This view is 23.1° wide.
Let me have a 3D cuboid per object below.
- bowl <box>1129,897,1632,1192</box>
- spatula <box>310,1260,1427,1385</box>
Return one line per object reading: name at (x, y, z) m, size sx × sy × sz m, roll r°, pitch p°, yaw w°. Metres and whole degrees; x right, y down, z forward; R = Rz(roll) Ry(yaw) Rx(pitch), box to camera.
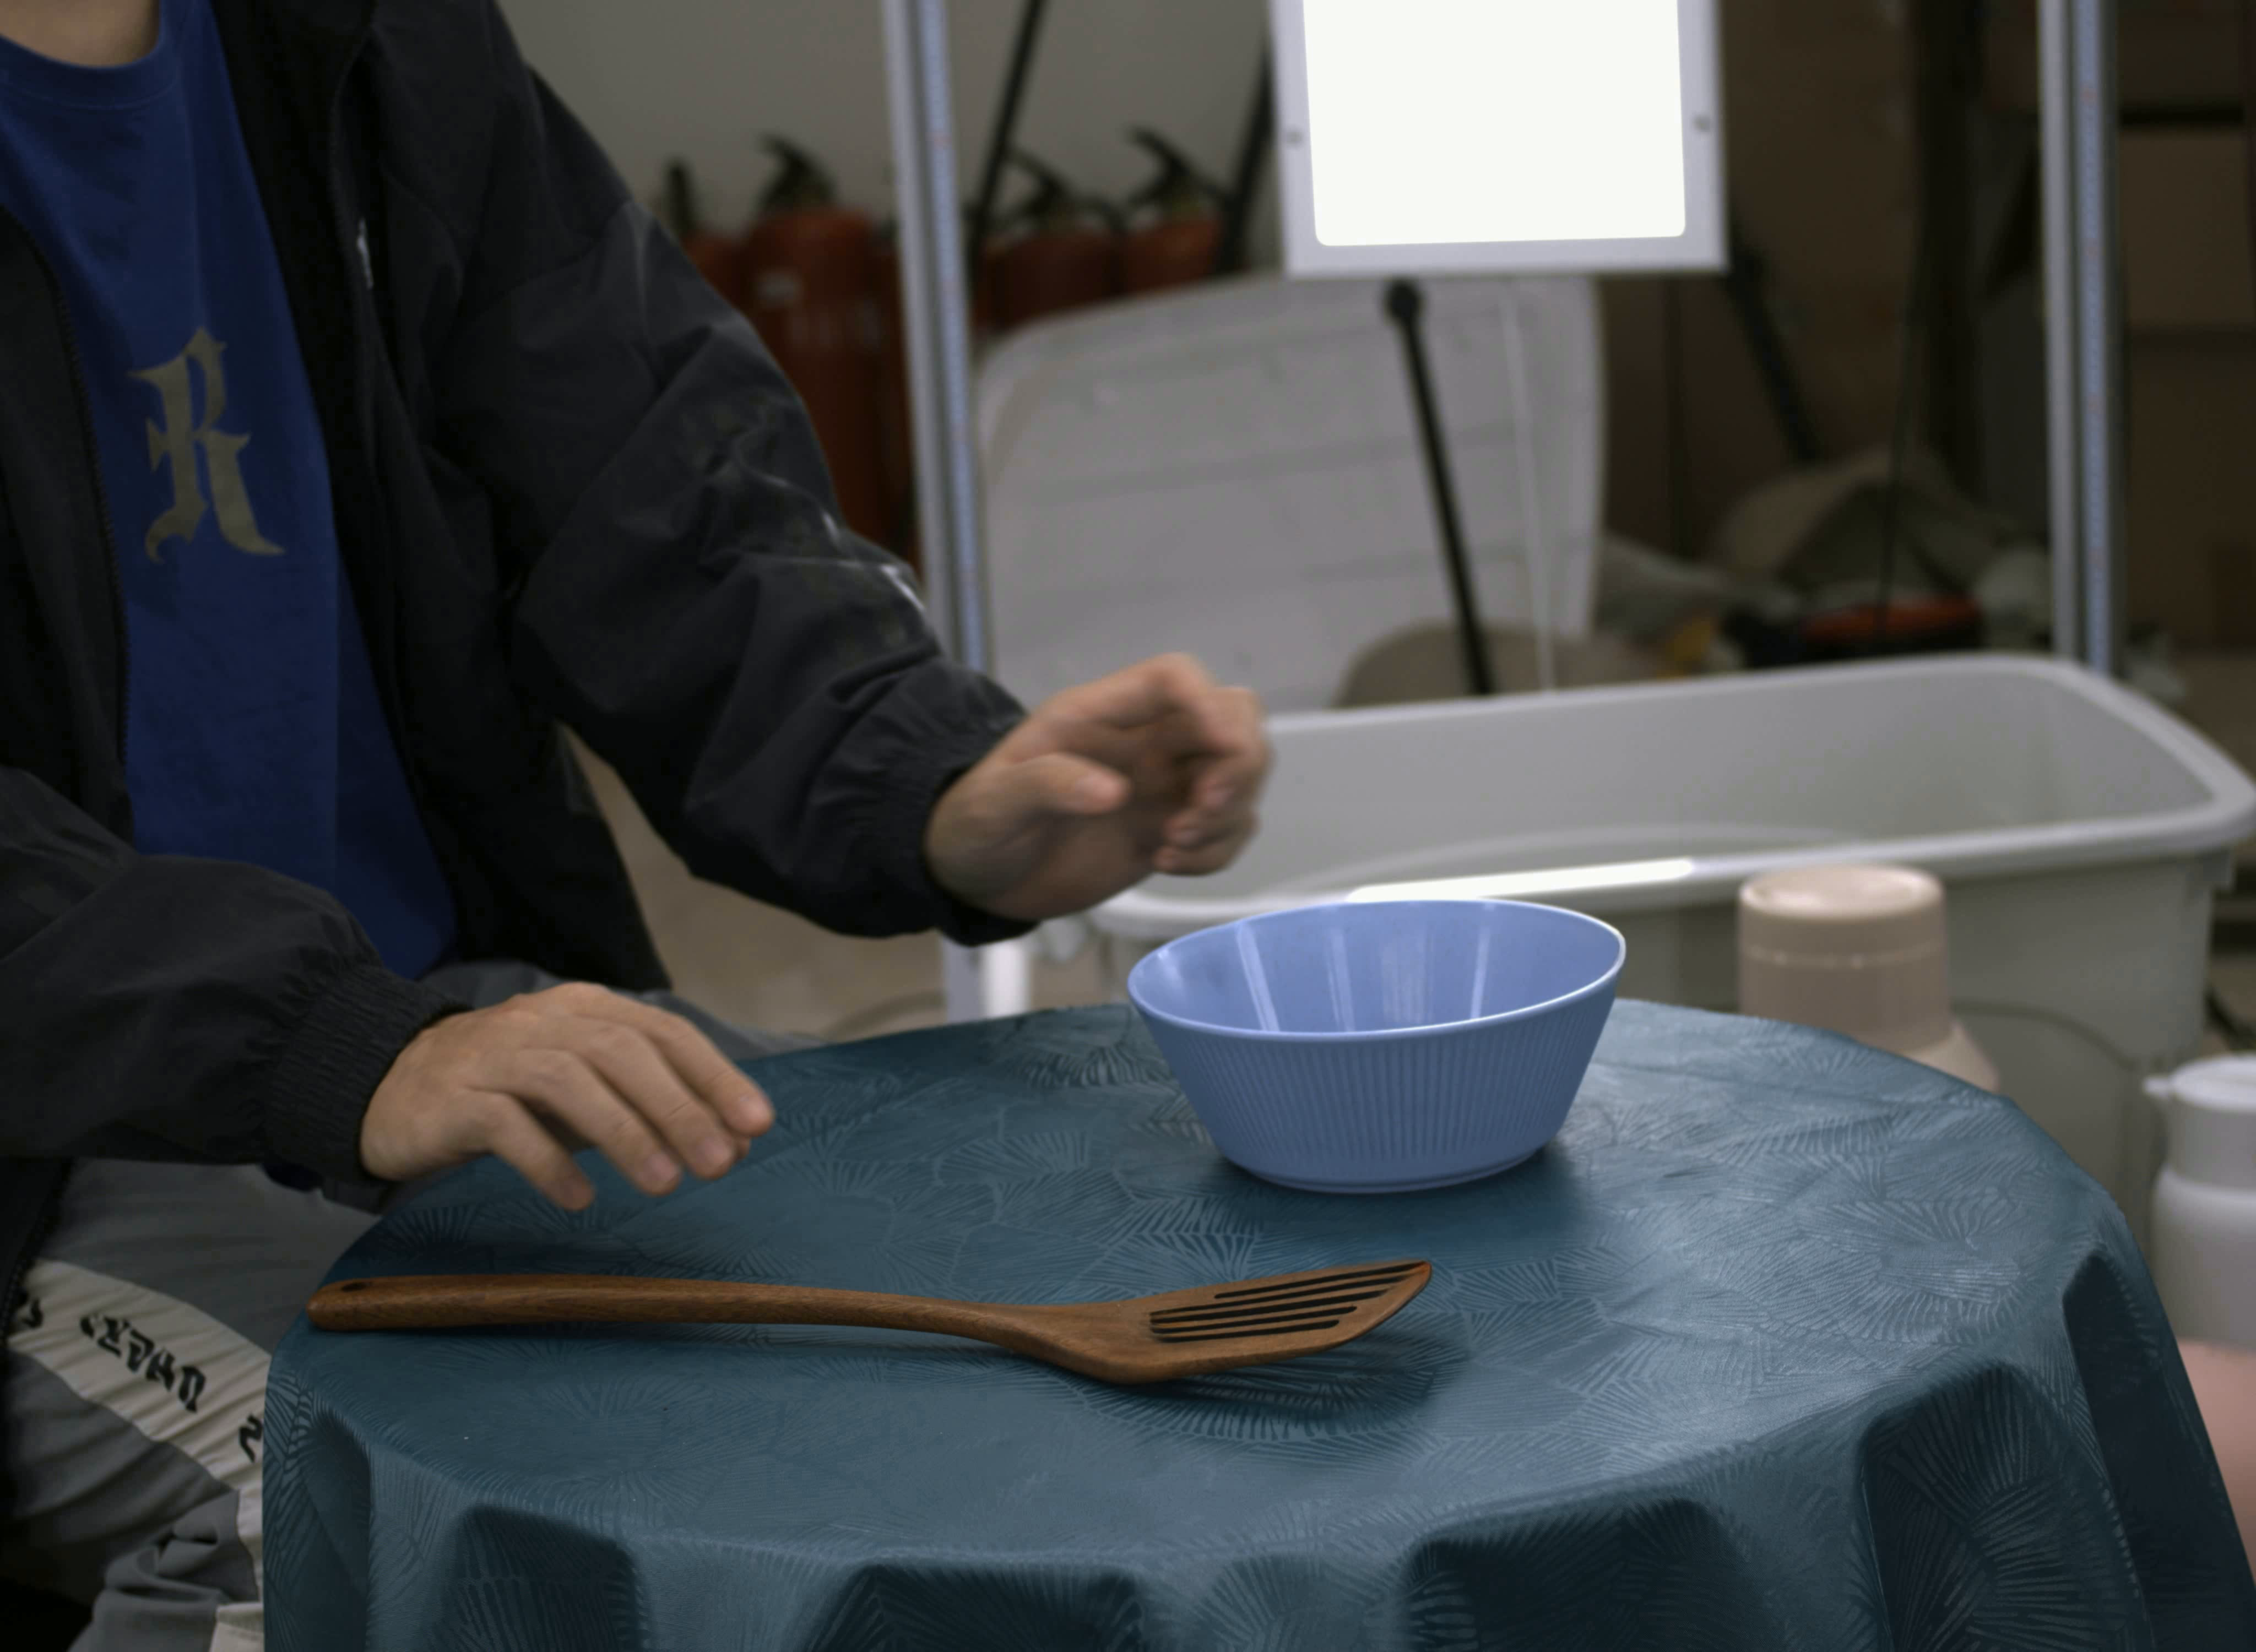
bowl at (0.090, 0.078, 1.912) m, size 0.175 × 0.070 × 0.176 m, roll -6°, pitch 13°, yaw 0°
spatula at (-0.091, 0.156, 1.765) m, size 0.392 × 0.024 × 0.084 m, roll -1°, pitch 14°, yaw 23°
